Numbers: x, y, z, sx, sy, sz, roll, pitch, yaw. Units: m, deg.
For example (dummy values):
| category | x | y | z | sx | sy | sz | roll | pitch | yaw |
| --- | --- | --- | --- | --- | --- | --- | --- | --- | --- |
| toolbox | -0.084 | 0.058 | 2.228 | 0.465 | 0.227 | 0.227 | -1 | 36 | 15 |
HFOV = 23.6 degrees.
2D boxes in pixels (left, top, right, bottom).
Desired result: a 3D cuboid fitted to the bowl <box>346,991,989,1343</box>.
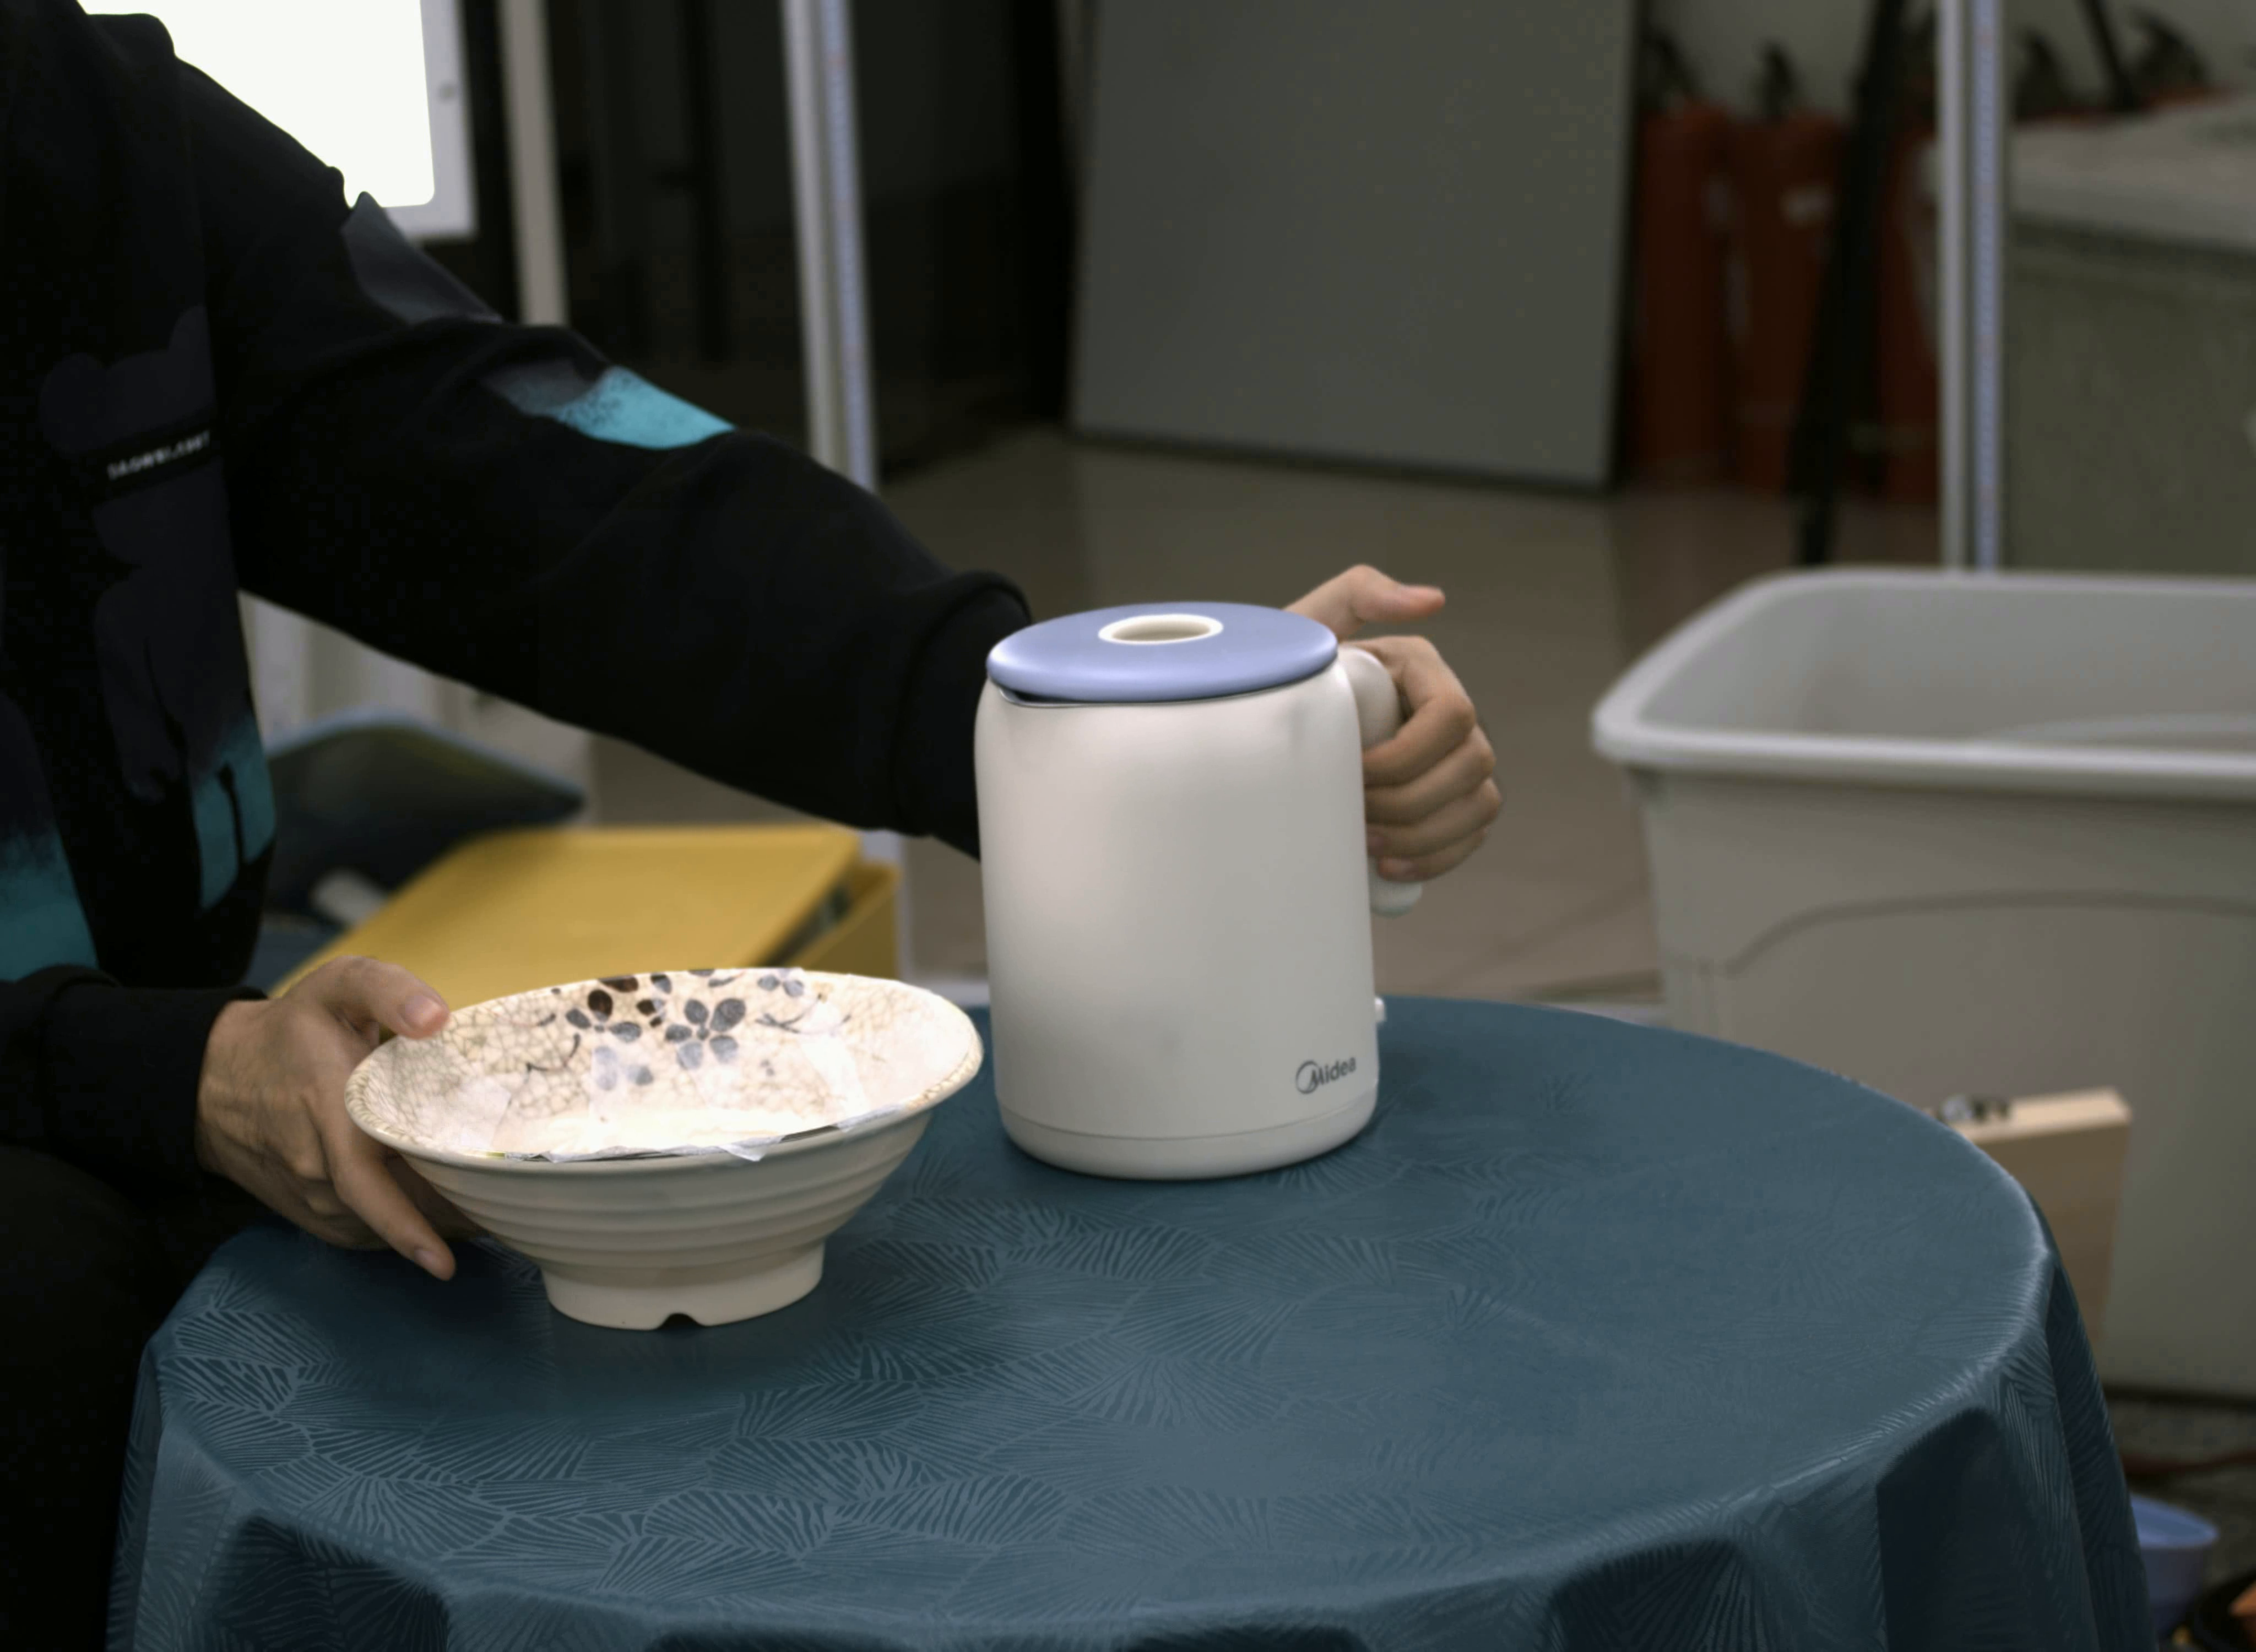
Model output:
| category | x | y | z | sx | sy | sz | roll | pitch | yaw |
| --- | --- | --- | --- | --- | --- | --- | --- | --- | --- |
| bowl | -0.140 | 0.112 | 1.696 | 0.201 | 0.079 | 0.204 | -6 | 11 | 0 |

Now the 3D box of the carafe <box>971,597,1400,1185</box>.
| category | x | y | z | sx | sy | sz | roll | pitch | yaw |
| --- | --- | --- | --- | --- | --- | --- | --- | --- | --- |
| carafe | 0.031 | 0.016 | 1.830 | 0.133 | 0.184 | 0.187 | 10 | 17 | 42 |
